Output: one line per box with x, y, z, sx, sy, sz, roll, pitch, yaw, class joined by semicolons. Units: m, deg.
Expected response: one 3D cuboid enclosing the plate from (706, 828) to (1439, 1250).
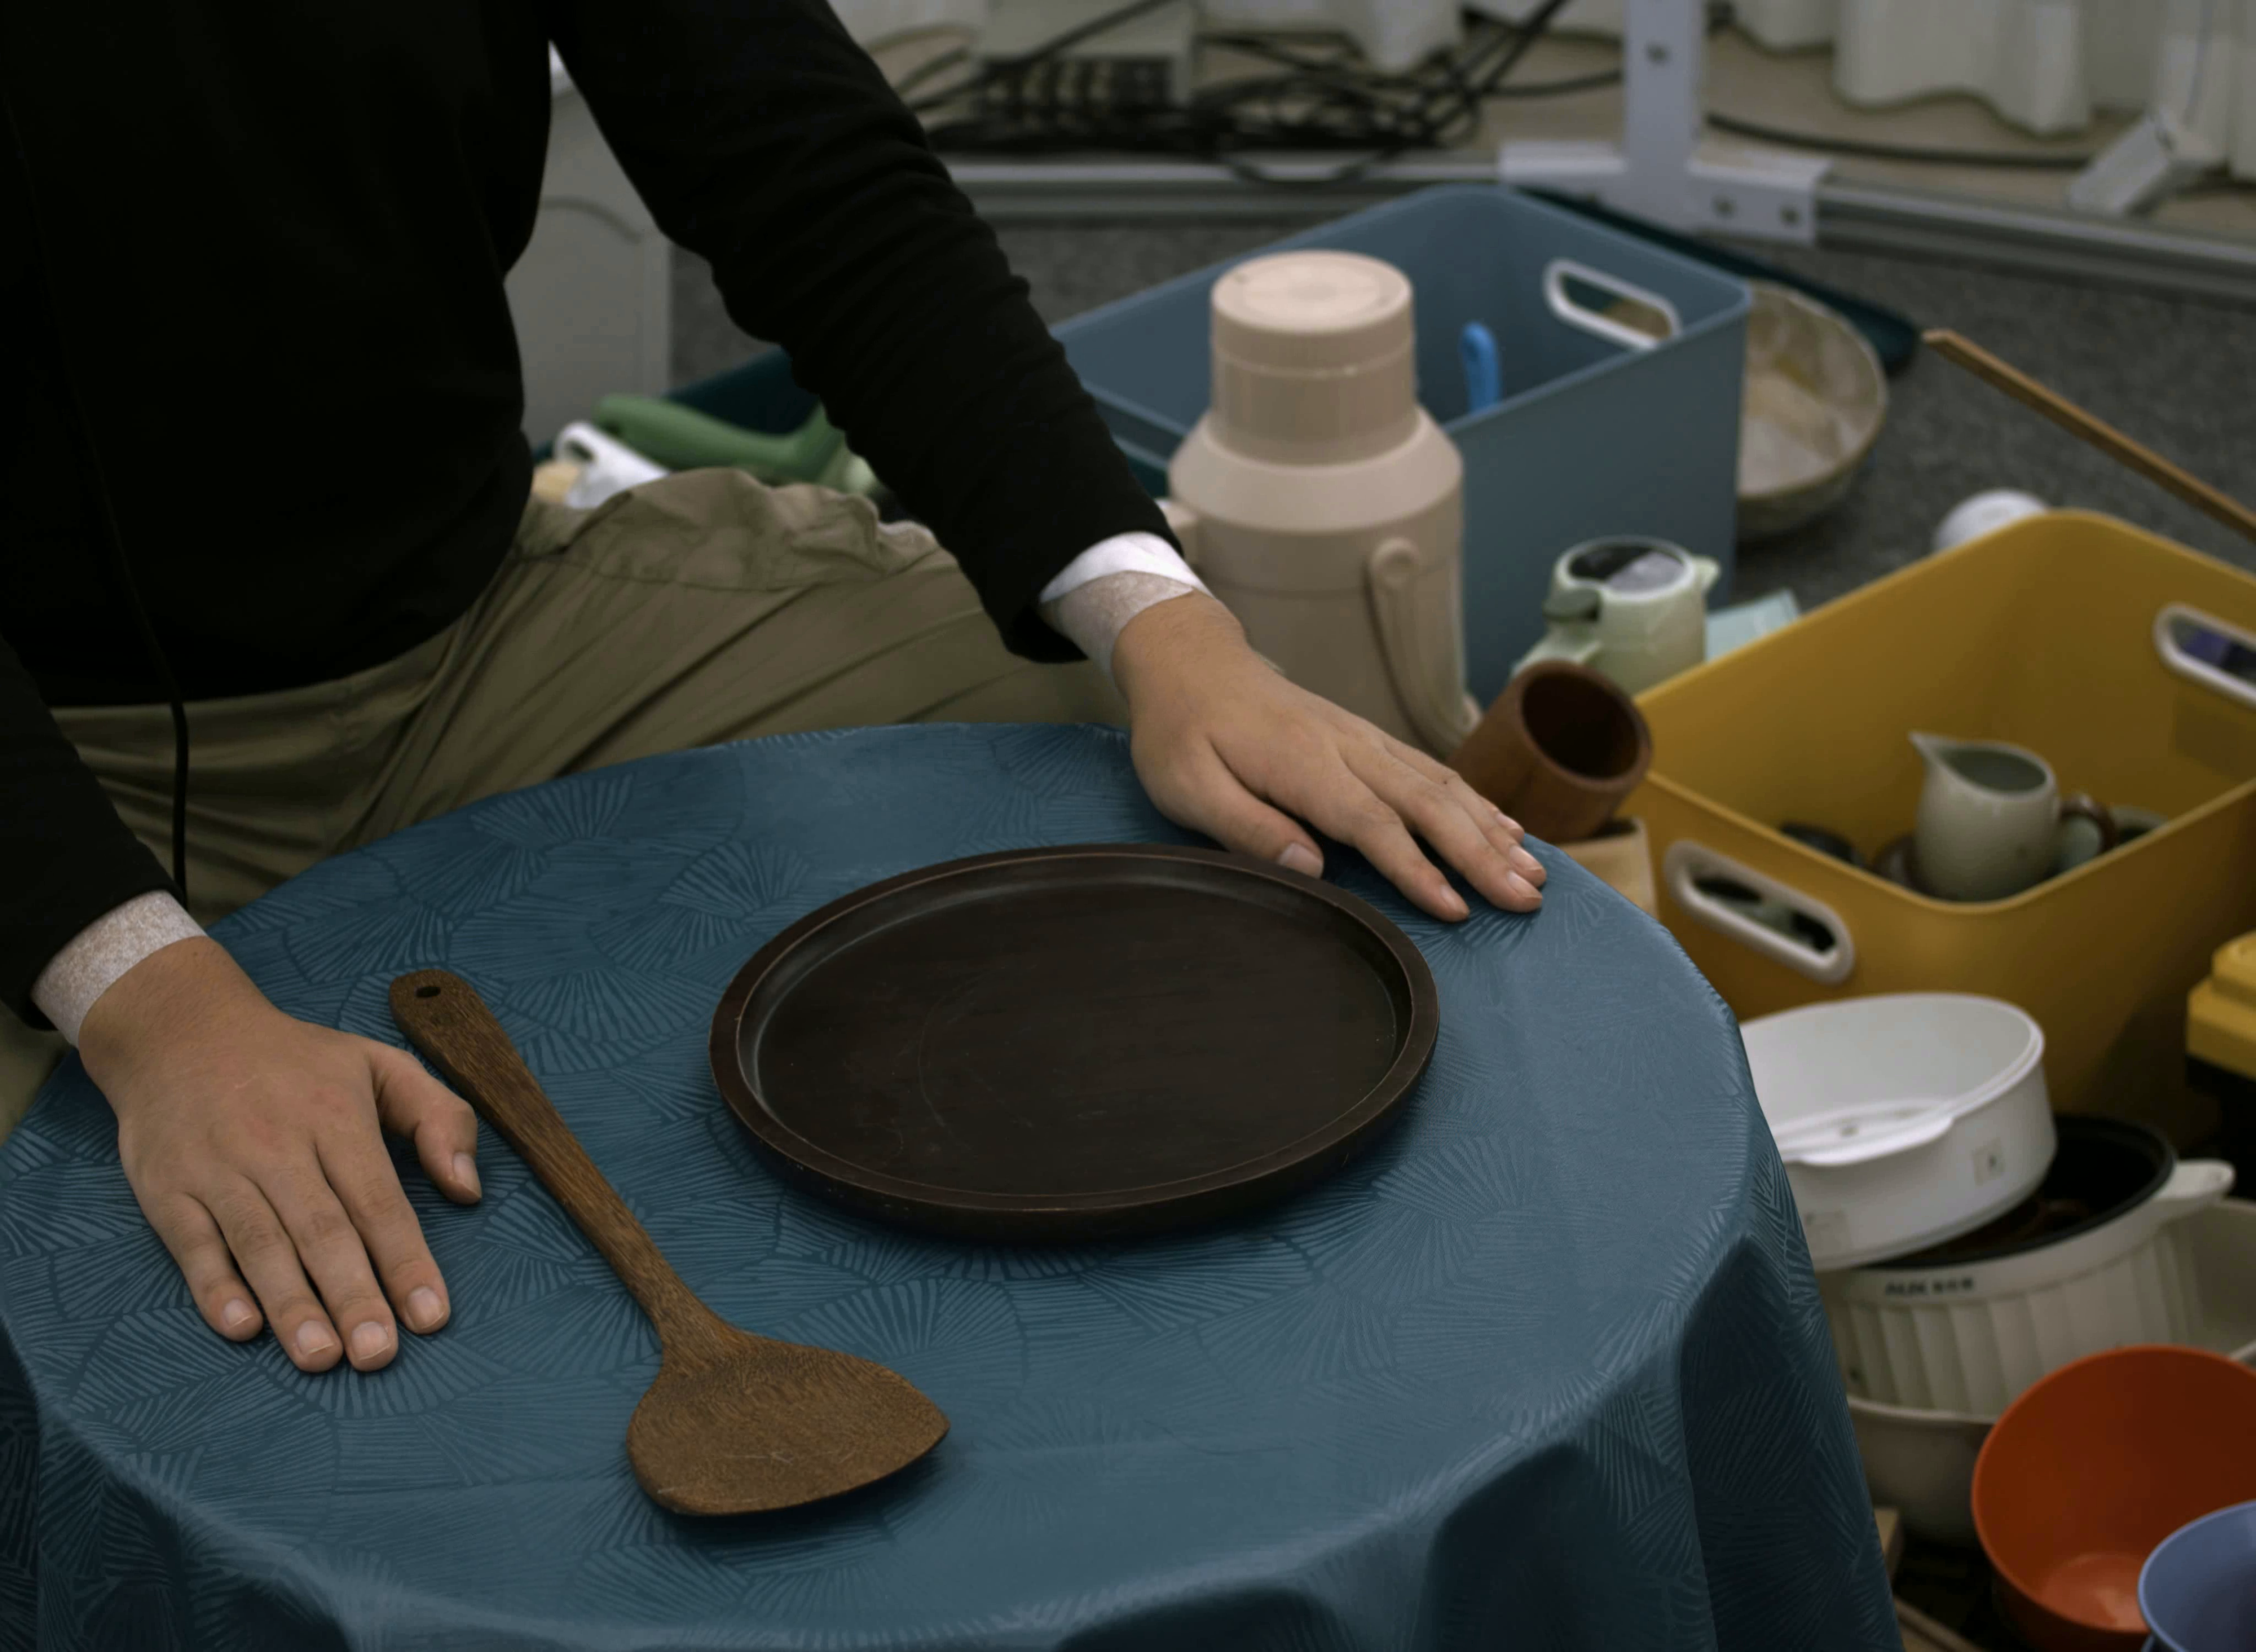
-0.019;0.074;1.929;0.253;0.029;0.259;-3;28;2;plate

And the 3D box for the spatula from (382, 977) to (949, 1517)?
-0.173;0.129;1.848;0.096;0.015;0.388;-14;29;-22;spatula
